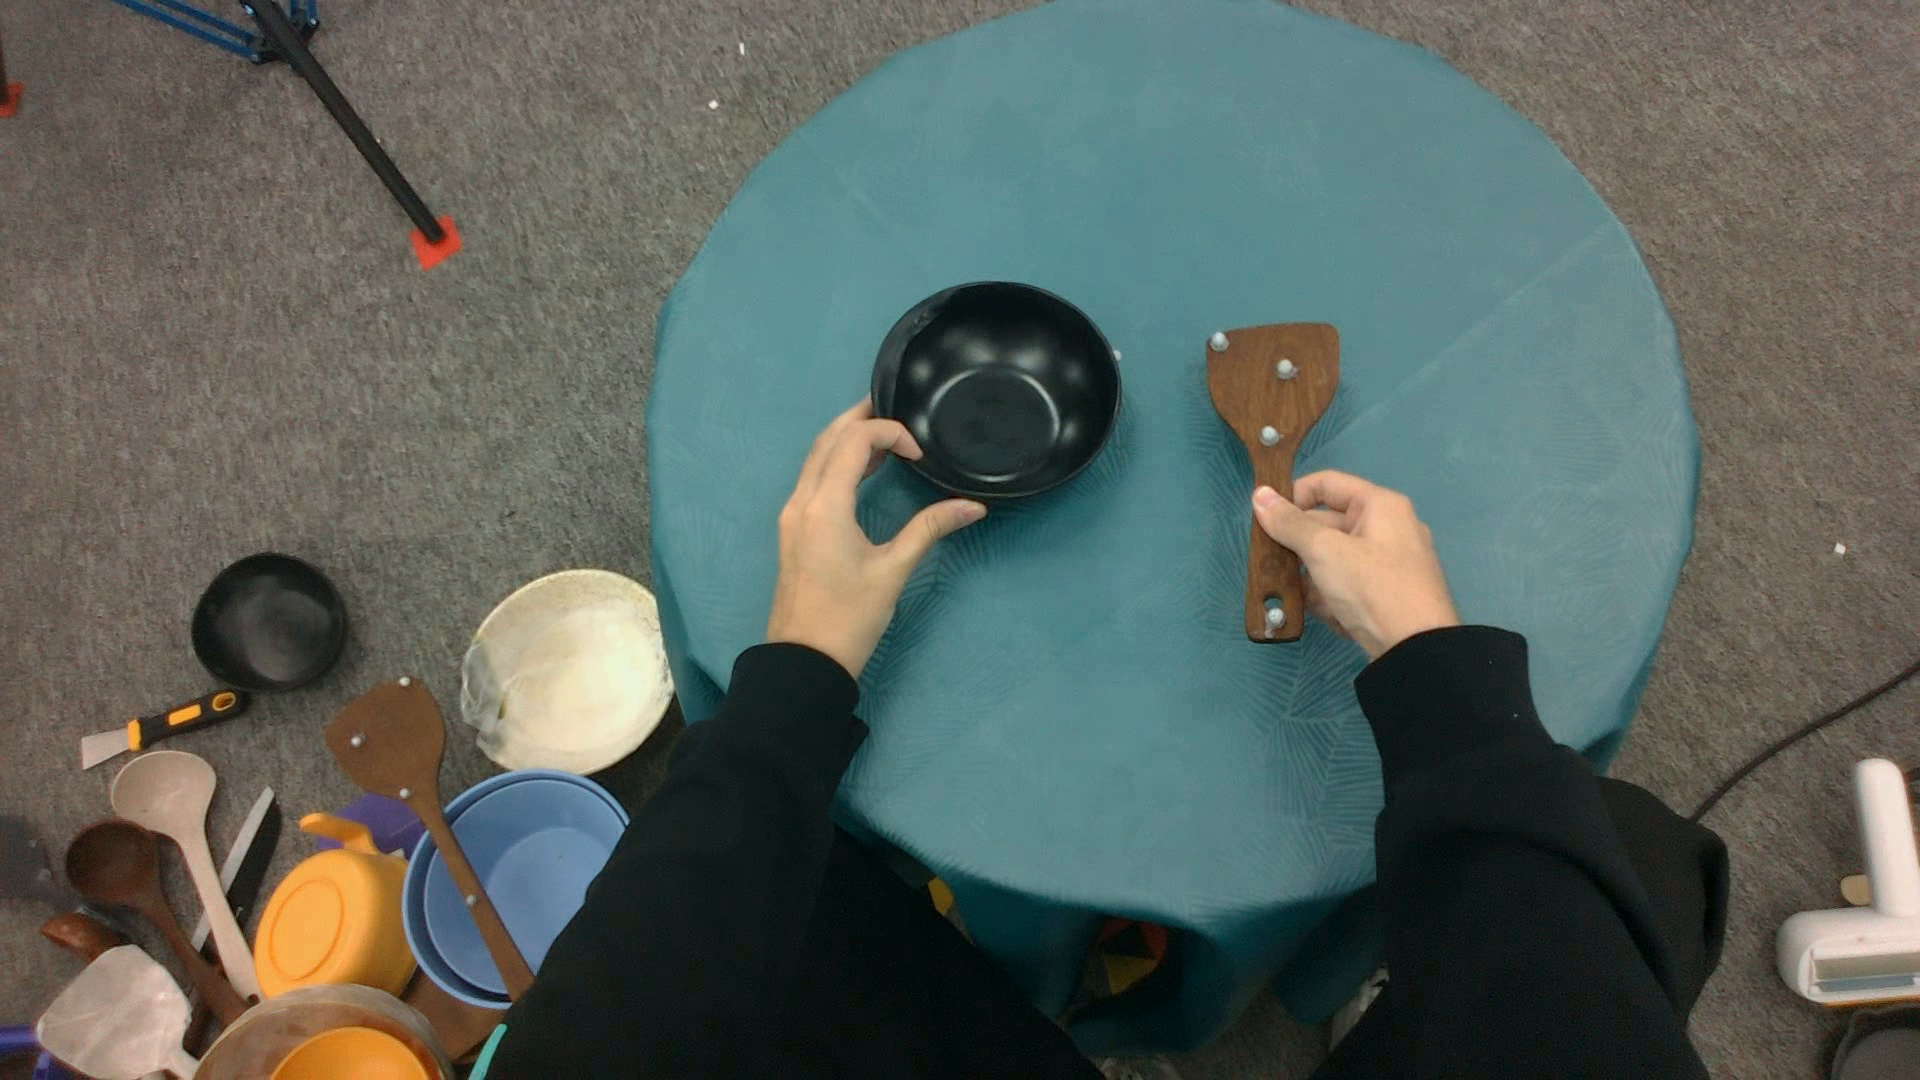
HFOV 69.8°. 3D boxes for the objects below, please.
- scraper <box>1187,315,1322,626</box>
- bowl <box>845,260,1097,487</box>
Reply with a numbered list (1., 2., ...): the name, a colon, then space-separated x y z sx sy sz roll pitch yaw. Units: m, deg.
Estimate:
1. scraper: 0.155 -0.042 0.731 0.076 0.011 0.212 -2 52 16
2. bowl: 0.005 -0.086 0.775 0.140 0.049 0.140 1 67 -3
